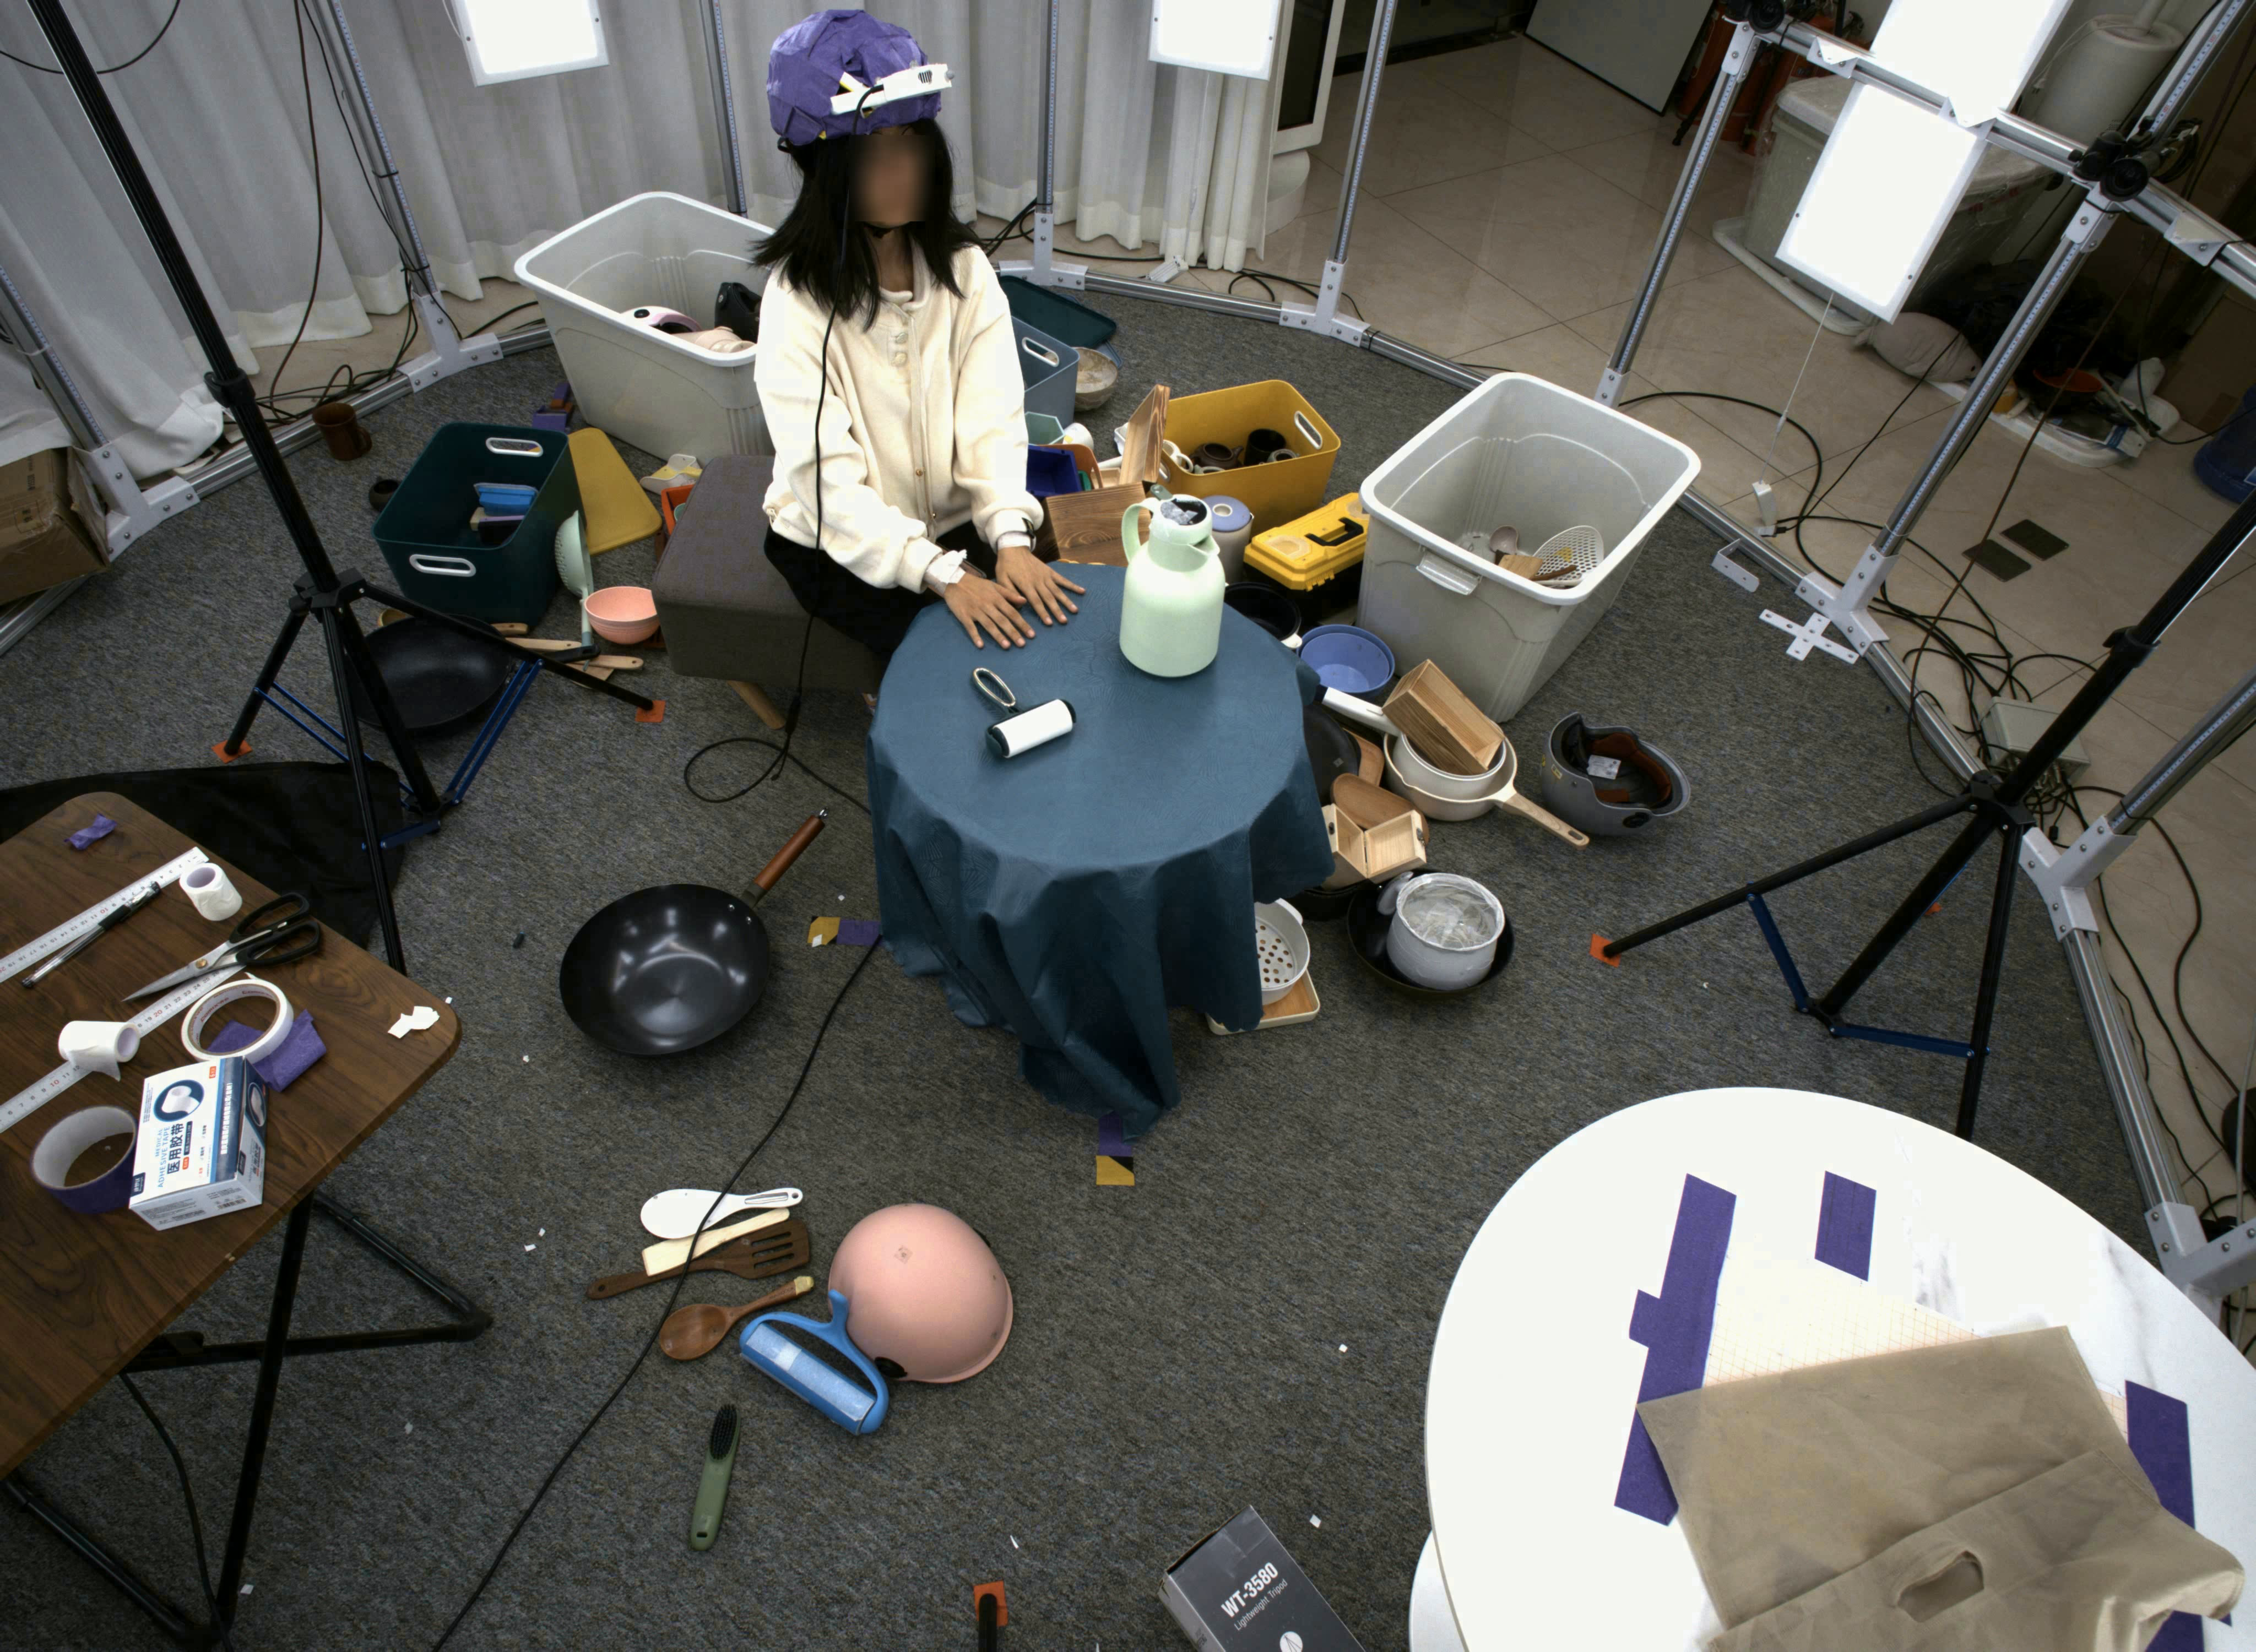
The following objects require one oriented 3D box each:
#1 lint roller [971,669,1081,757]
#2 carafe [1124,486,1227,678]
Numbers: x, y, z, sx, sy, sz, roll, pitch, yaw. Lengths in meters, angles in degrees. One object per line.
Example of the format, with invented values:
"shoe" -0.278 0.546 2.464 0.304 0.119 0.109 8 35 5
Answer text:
"lint roller" -0.167 -0.178 1.782 0.135 0.047 0.184 -24 55 -23
"carafe" 0.060 -0.351 1.818 0.145 0.250 0.190 -29 53 -23
